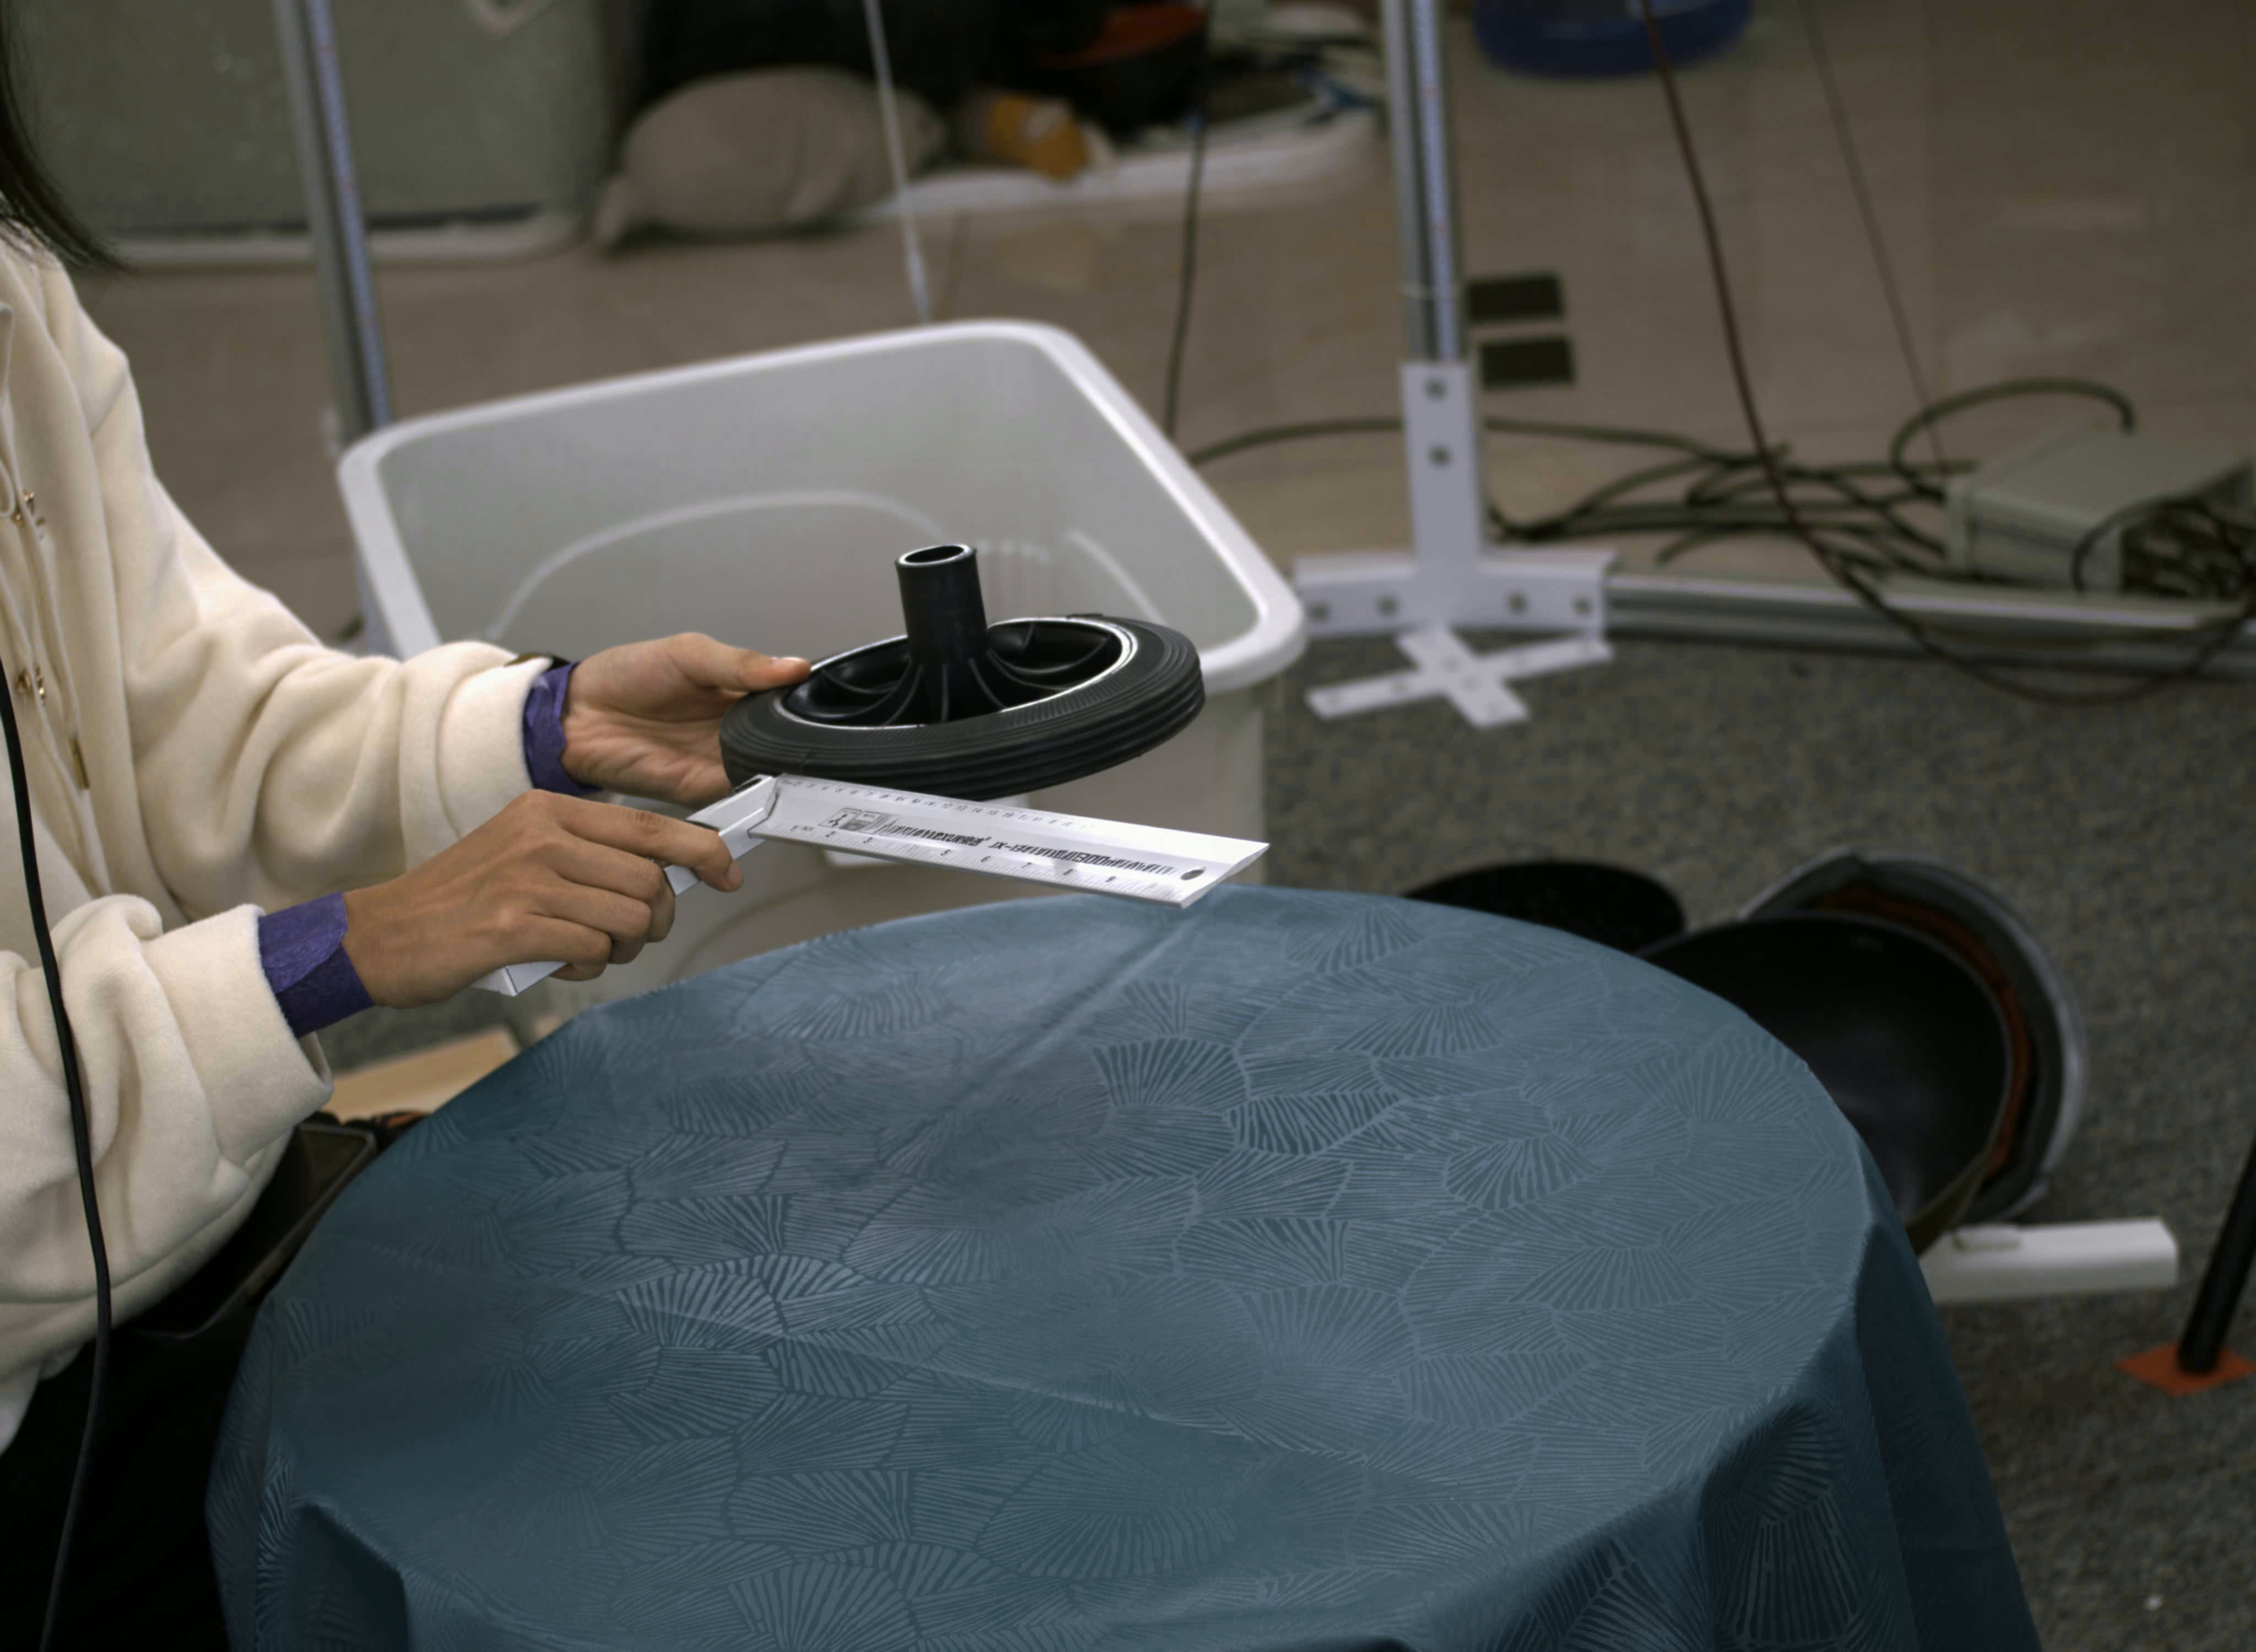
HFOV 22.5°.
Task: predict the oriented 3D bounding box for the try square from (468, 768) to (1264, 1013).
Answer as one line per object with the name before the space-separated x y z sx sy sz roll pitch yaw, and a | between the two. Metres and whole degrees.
try square | -0.096 0.032 1.954 0.151 0.016 0.311 -37 24 -26

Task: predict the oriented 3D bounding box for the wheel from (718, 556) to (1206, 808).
wheel | -0.067 -0.062 2.166 0.187 0.080 0.188 -13 17 -13
